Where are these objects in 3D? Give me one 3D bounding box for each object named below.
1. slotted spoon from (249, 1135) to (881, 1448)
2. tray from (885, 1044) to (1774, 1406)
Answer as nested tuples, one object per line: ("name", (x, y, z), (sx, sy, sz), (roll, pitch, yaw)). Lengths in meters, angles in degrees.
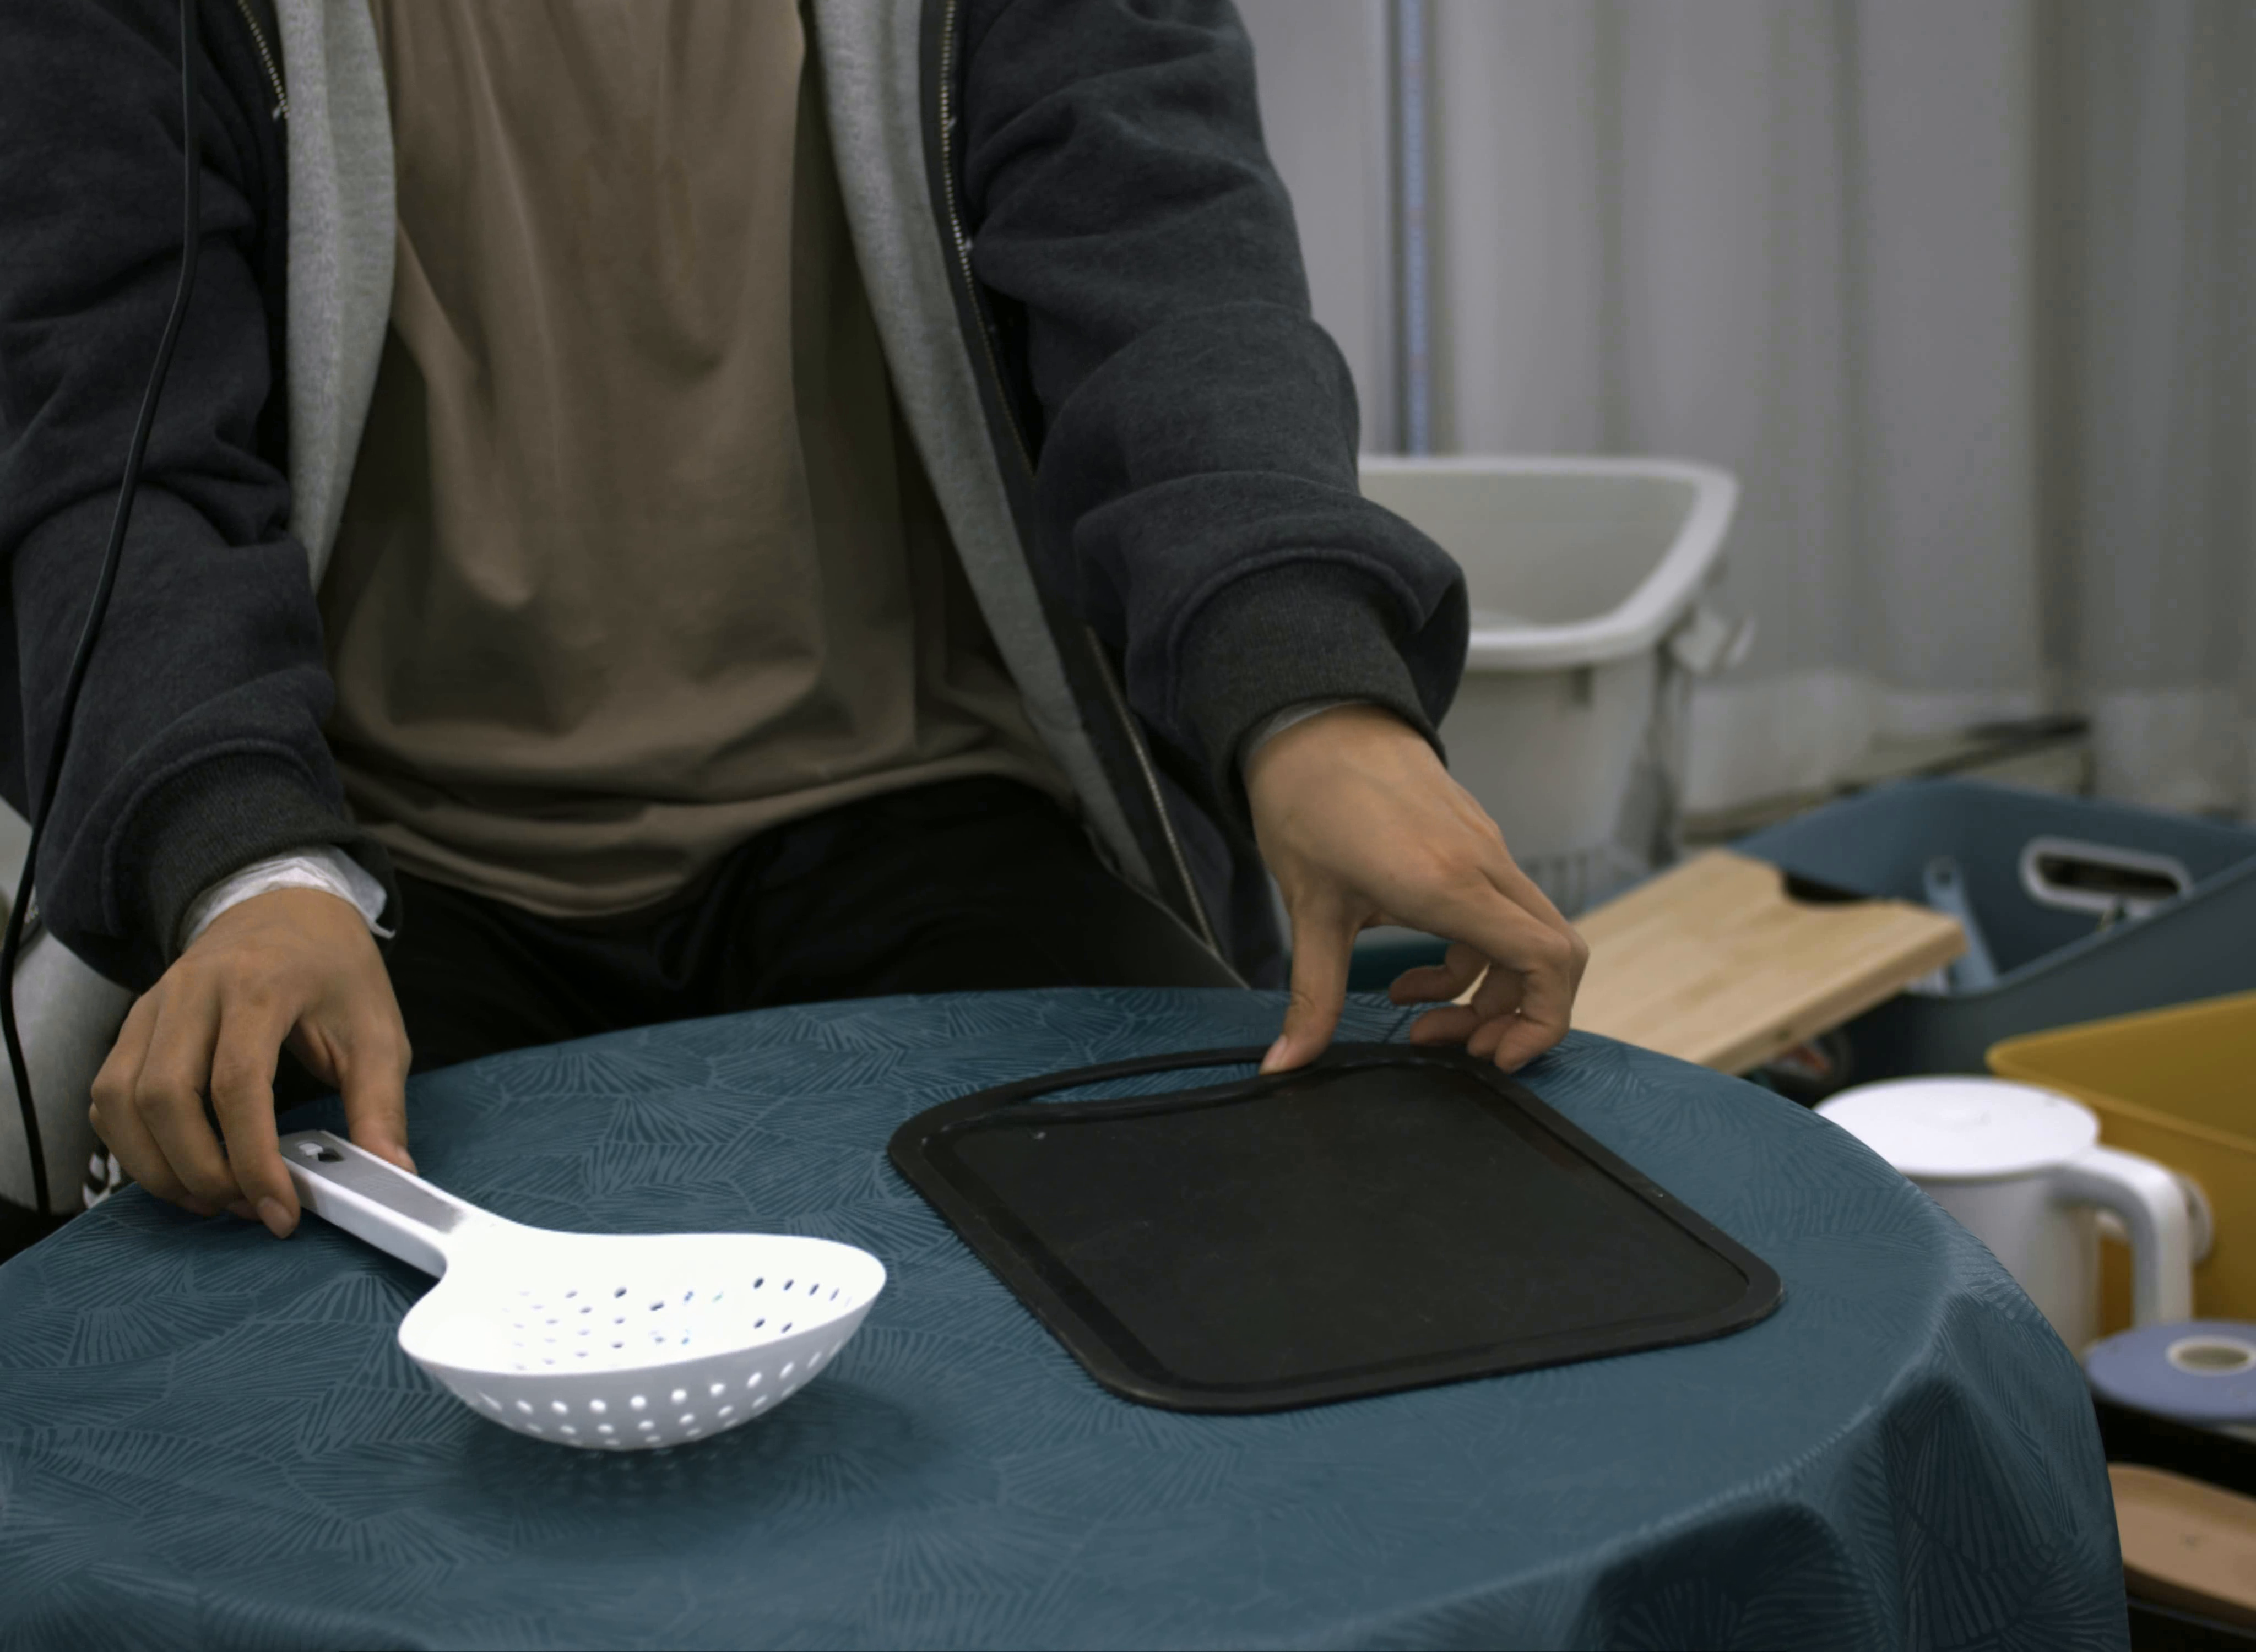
("slotted spoon", (-0.188, 0.128, 1.616), (0.135, 0.045, 0.352), (-10, 16, -28))
("tray", (0.051, 0.116, 1.690), (0.210, 0.010, 0.328), (-7, 15, -16))
